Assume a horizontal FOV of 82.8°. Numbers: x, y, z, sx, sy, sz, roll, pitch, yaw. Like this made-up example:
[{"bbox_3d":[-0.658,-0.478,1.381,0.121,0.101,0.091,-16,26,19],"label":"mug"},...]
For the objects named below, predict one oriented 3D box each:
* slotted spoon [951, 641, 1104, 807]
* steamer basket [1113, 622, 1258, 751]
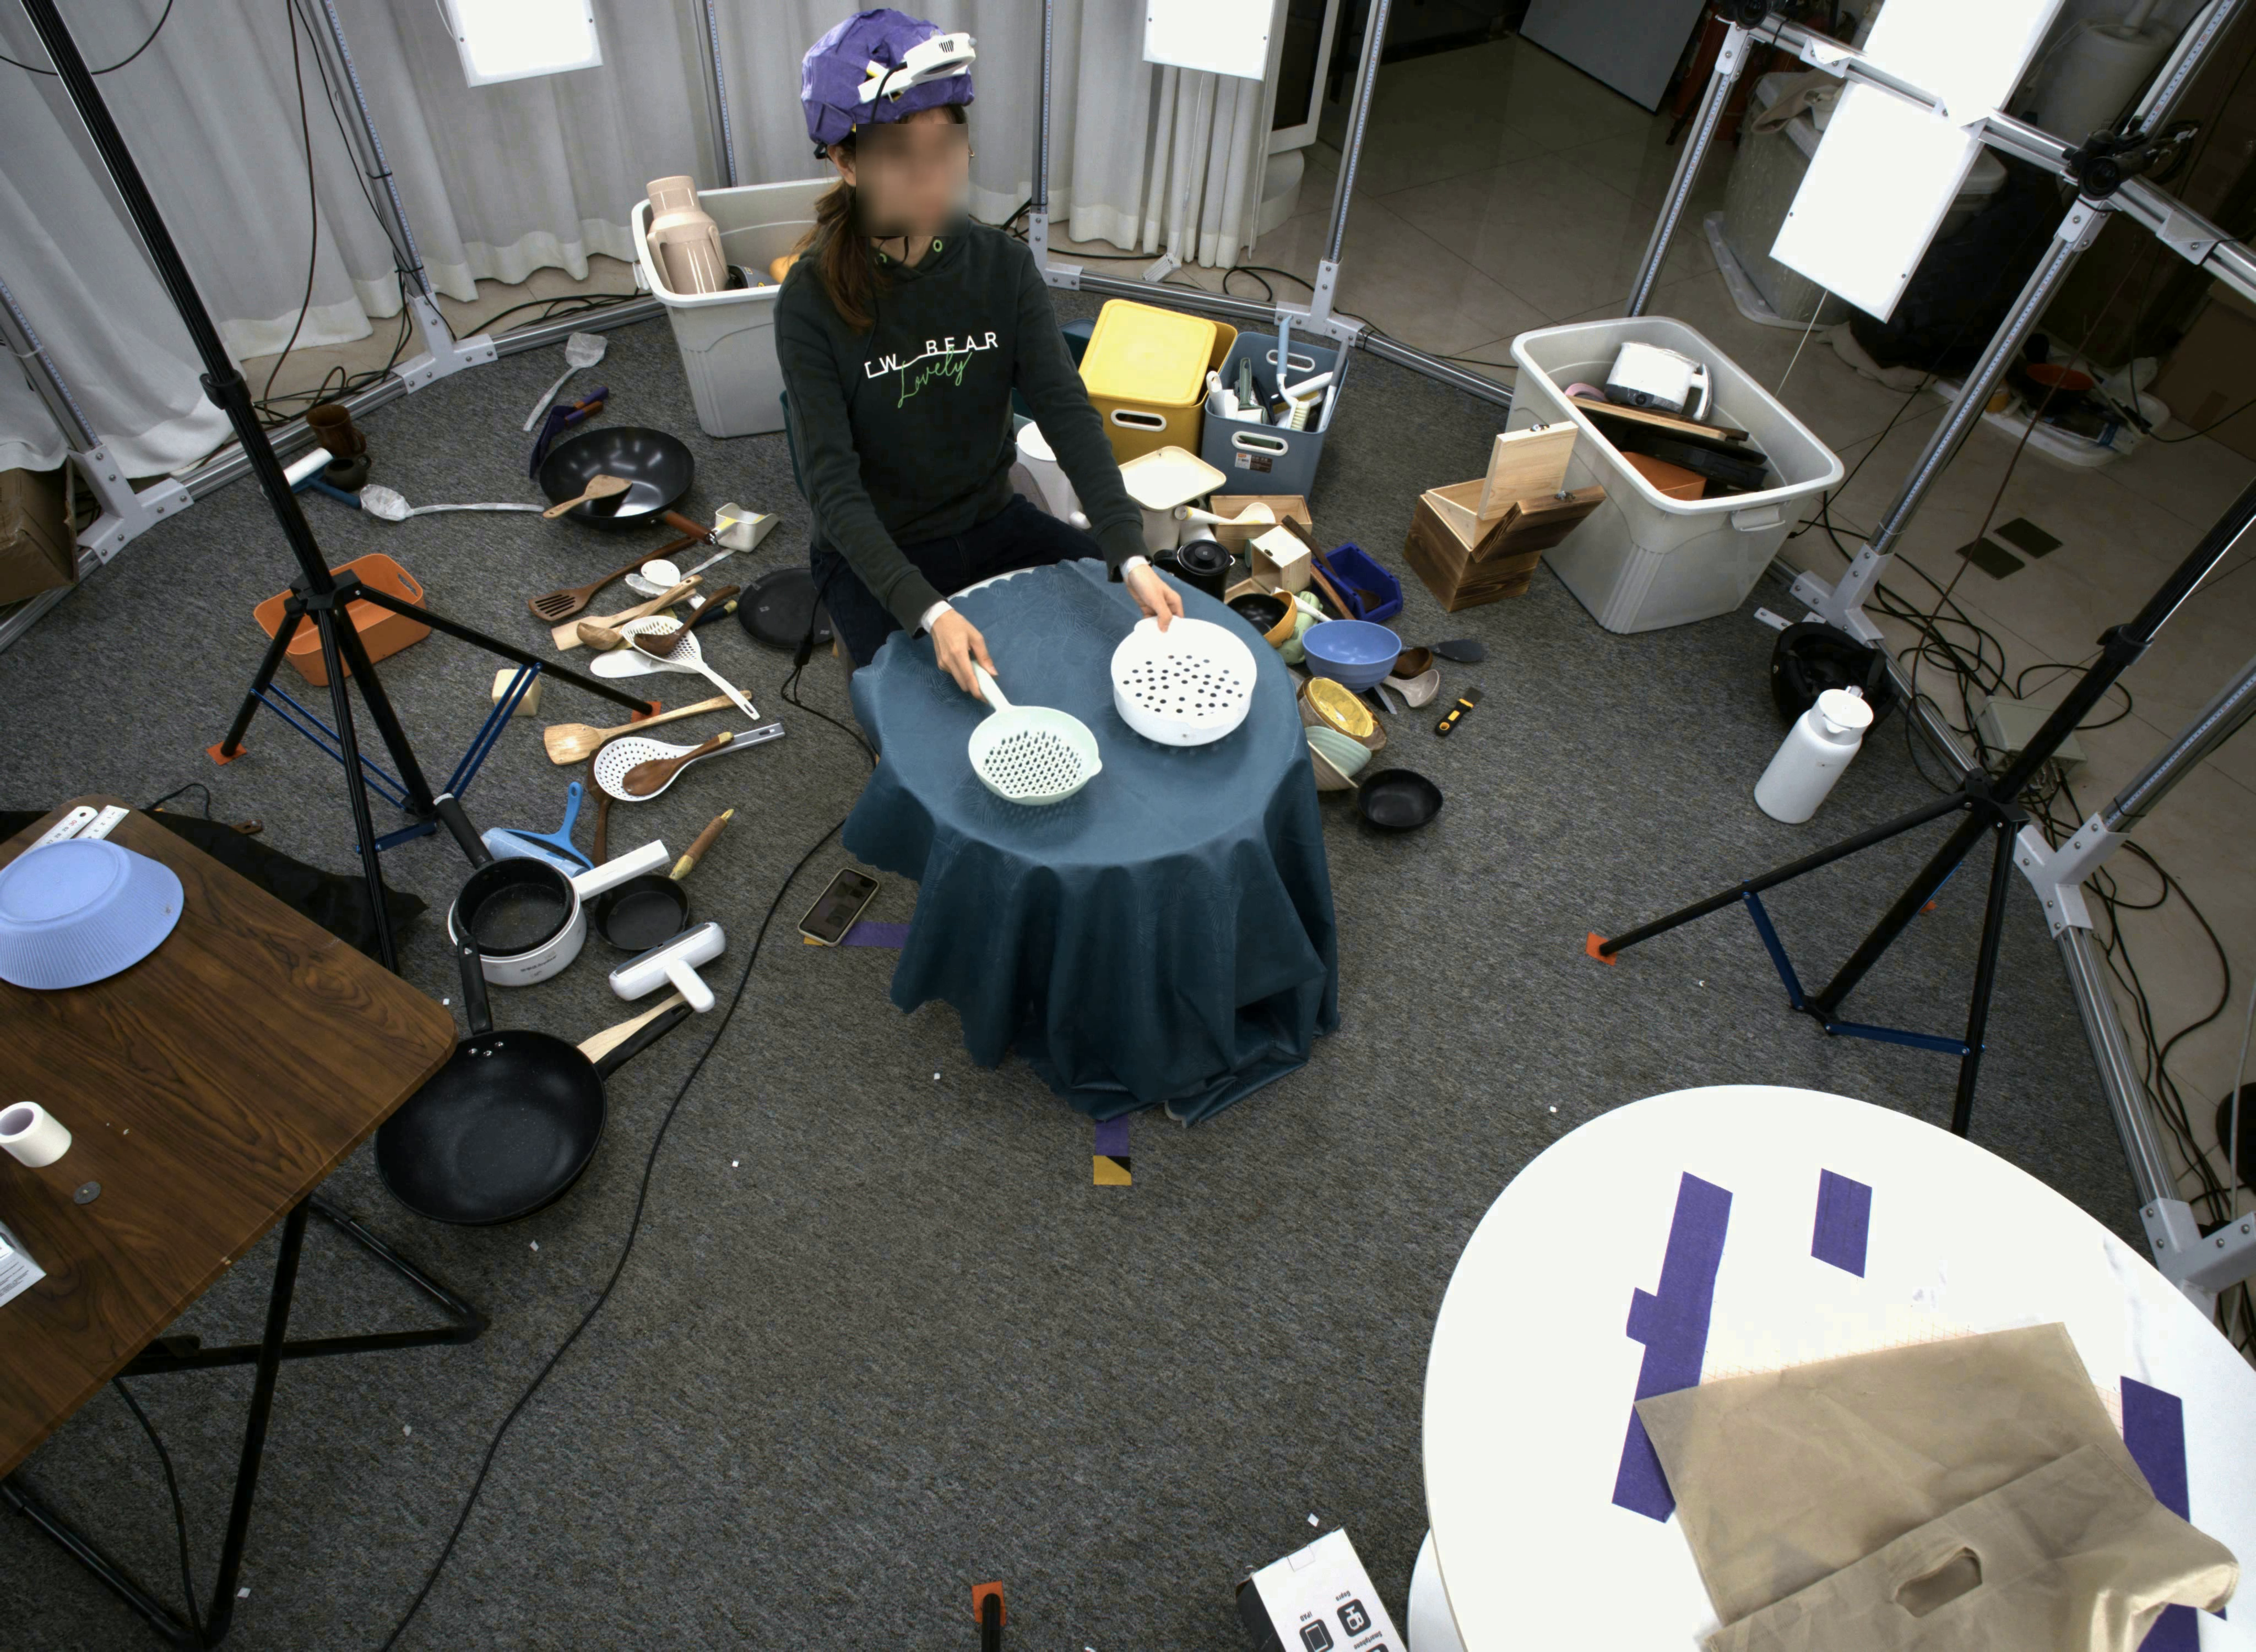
[{"bbox_3d":[-0.168,-0.154,1.754,0.169,0.073,0.366,-17,56,-22],"label":"slotted spoon"},{"bbox_3d":[0.080,-0.193,1.807,0.202,0.067,0.236,-17,50,-15],"label":"steamer basket"}]
